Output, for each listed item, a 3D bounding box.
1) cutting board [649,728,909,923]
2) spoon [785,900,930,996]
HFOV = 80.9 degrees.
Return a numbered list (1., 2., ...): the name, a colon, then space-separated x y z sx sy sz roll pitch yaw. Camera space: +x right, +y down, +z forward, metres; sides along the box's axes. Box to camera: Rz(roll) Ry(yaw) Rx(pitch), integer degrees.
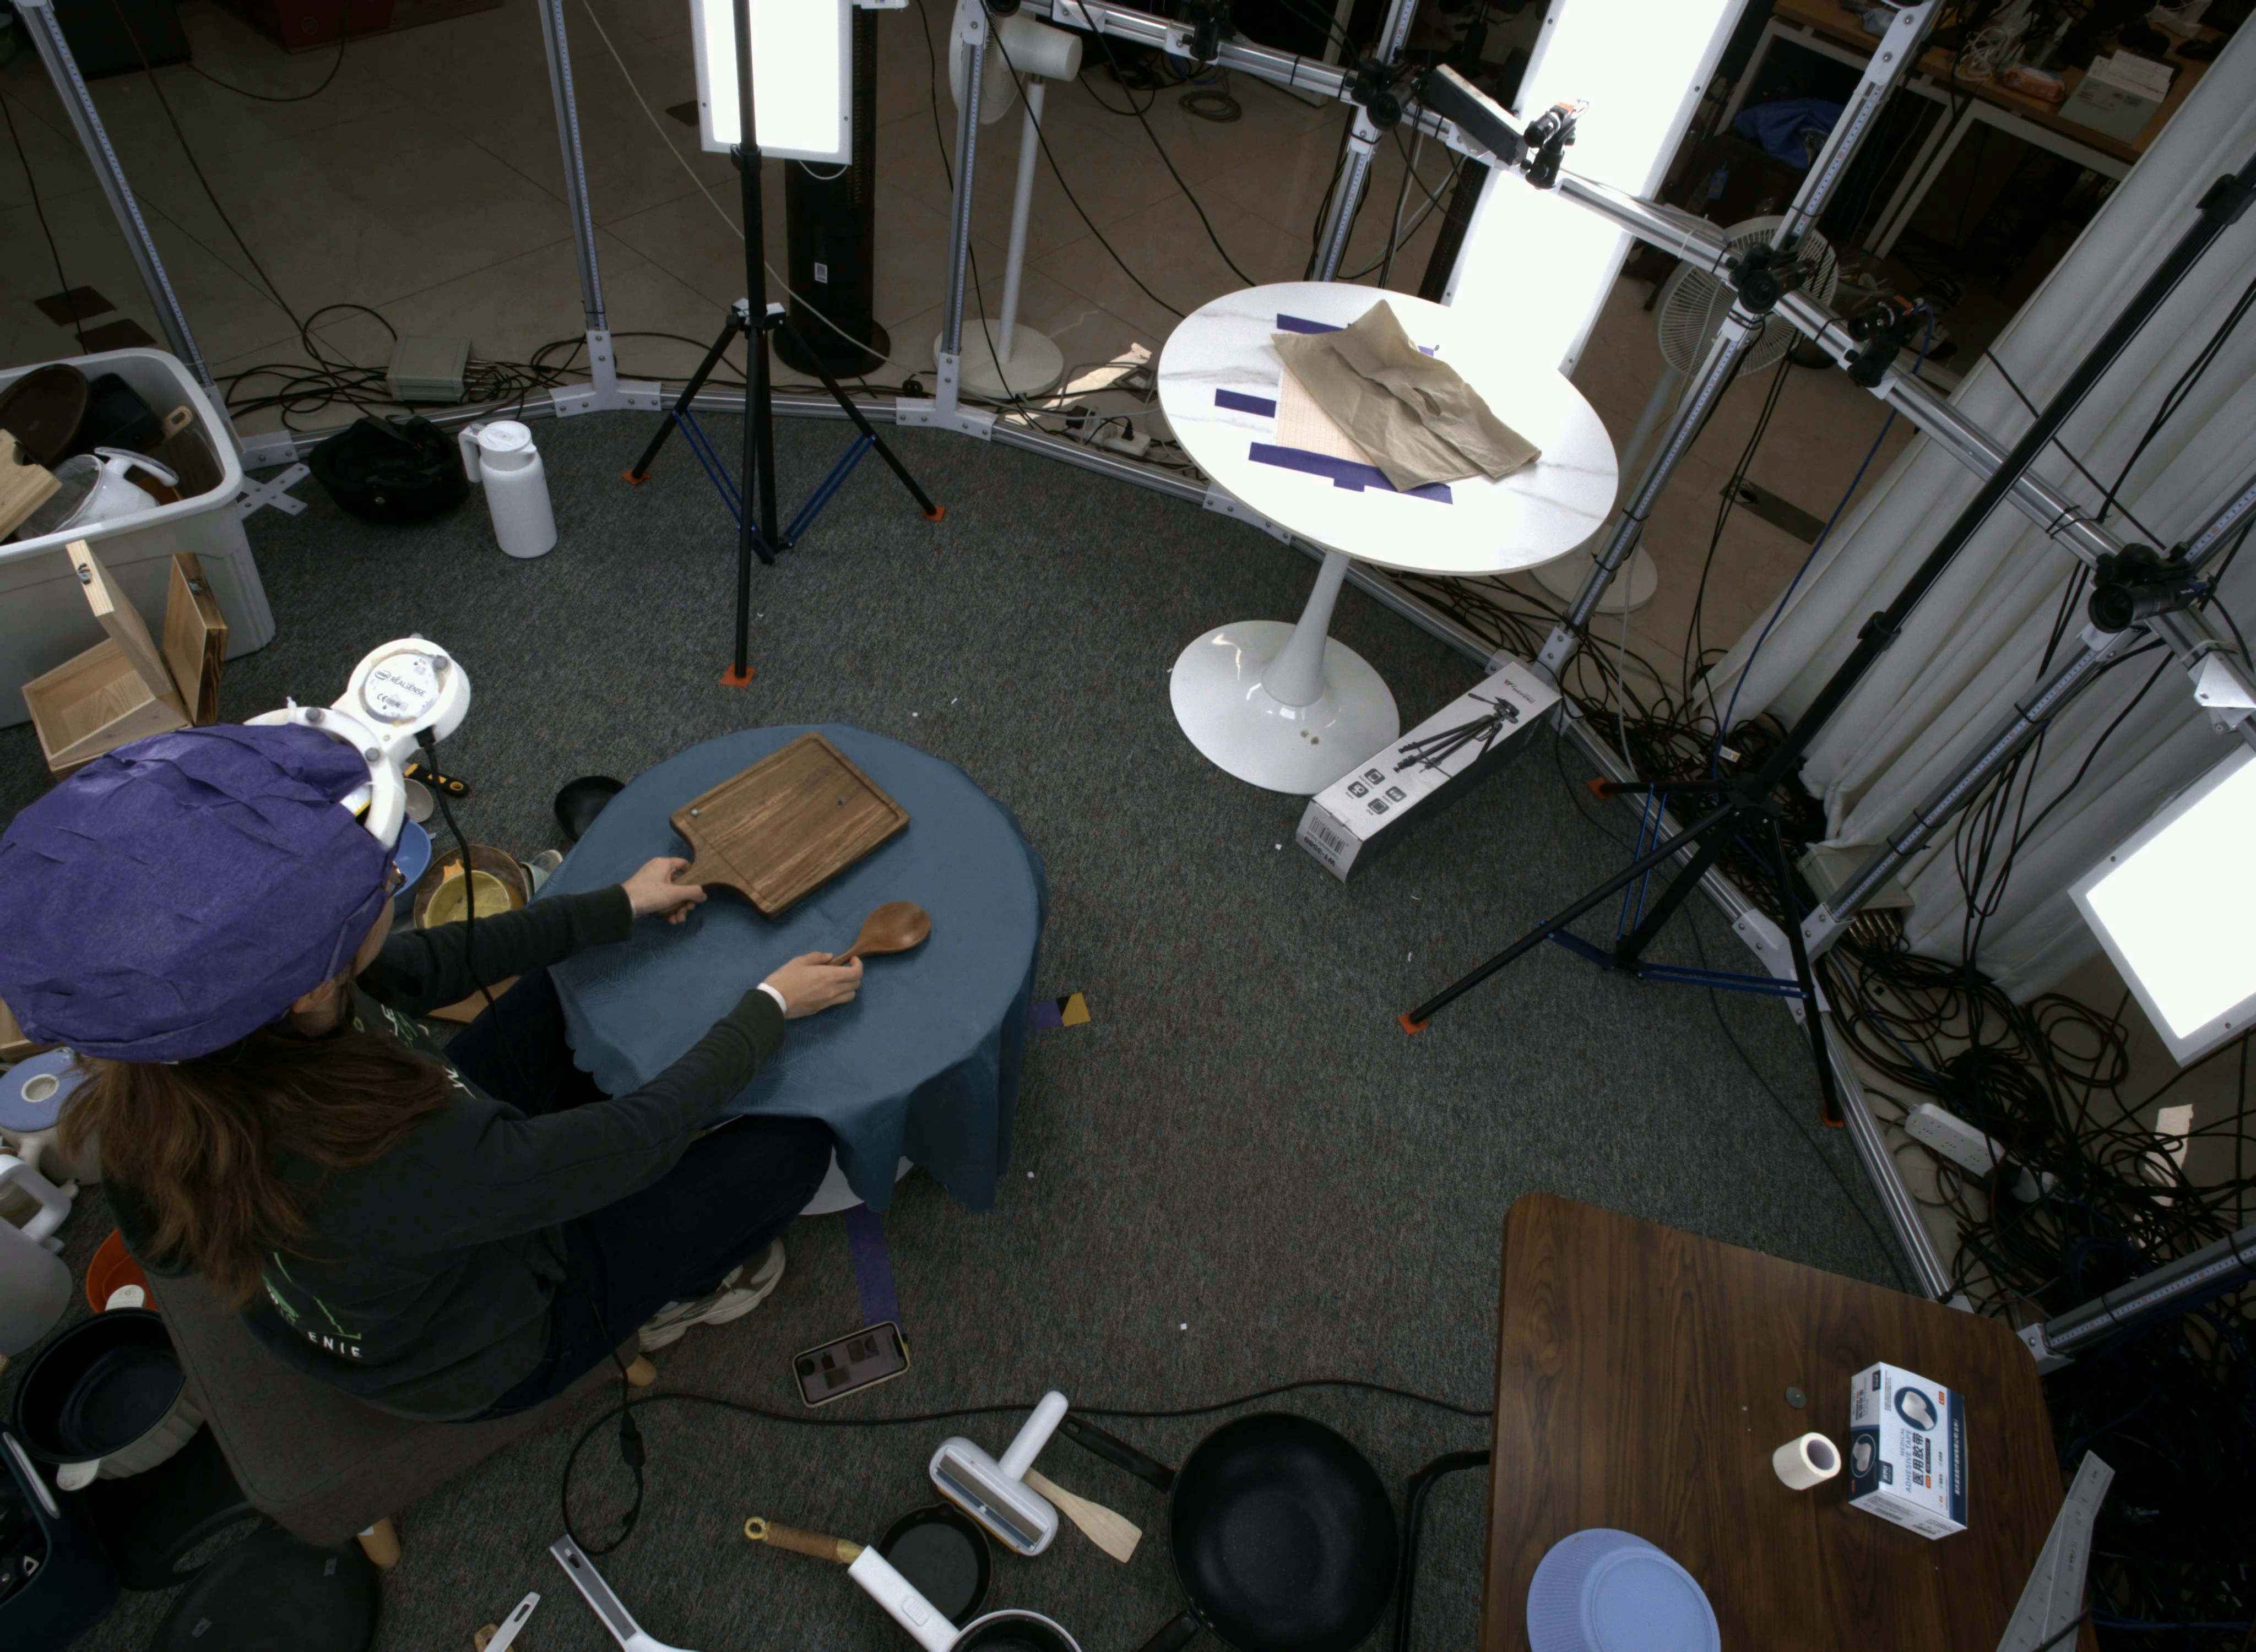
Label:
1. cutting board: -0.471 0.016 1.669 0.198 0.023 0.352 43 51 10
2. spoon: -0.335 0.151 1.611 0.074 0.017 0.217 43 45 17
